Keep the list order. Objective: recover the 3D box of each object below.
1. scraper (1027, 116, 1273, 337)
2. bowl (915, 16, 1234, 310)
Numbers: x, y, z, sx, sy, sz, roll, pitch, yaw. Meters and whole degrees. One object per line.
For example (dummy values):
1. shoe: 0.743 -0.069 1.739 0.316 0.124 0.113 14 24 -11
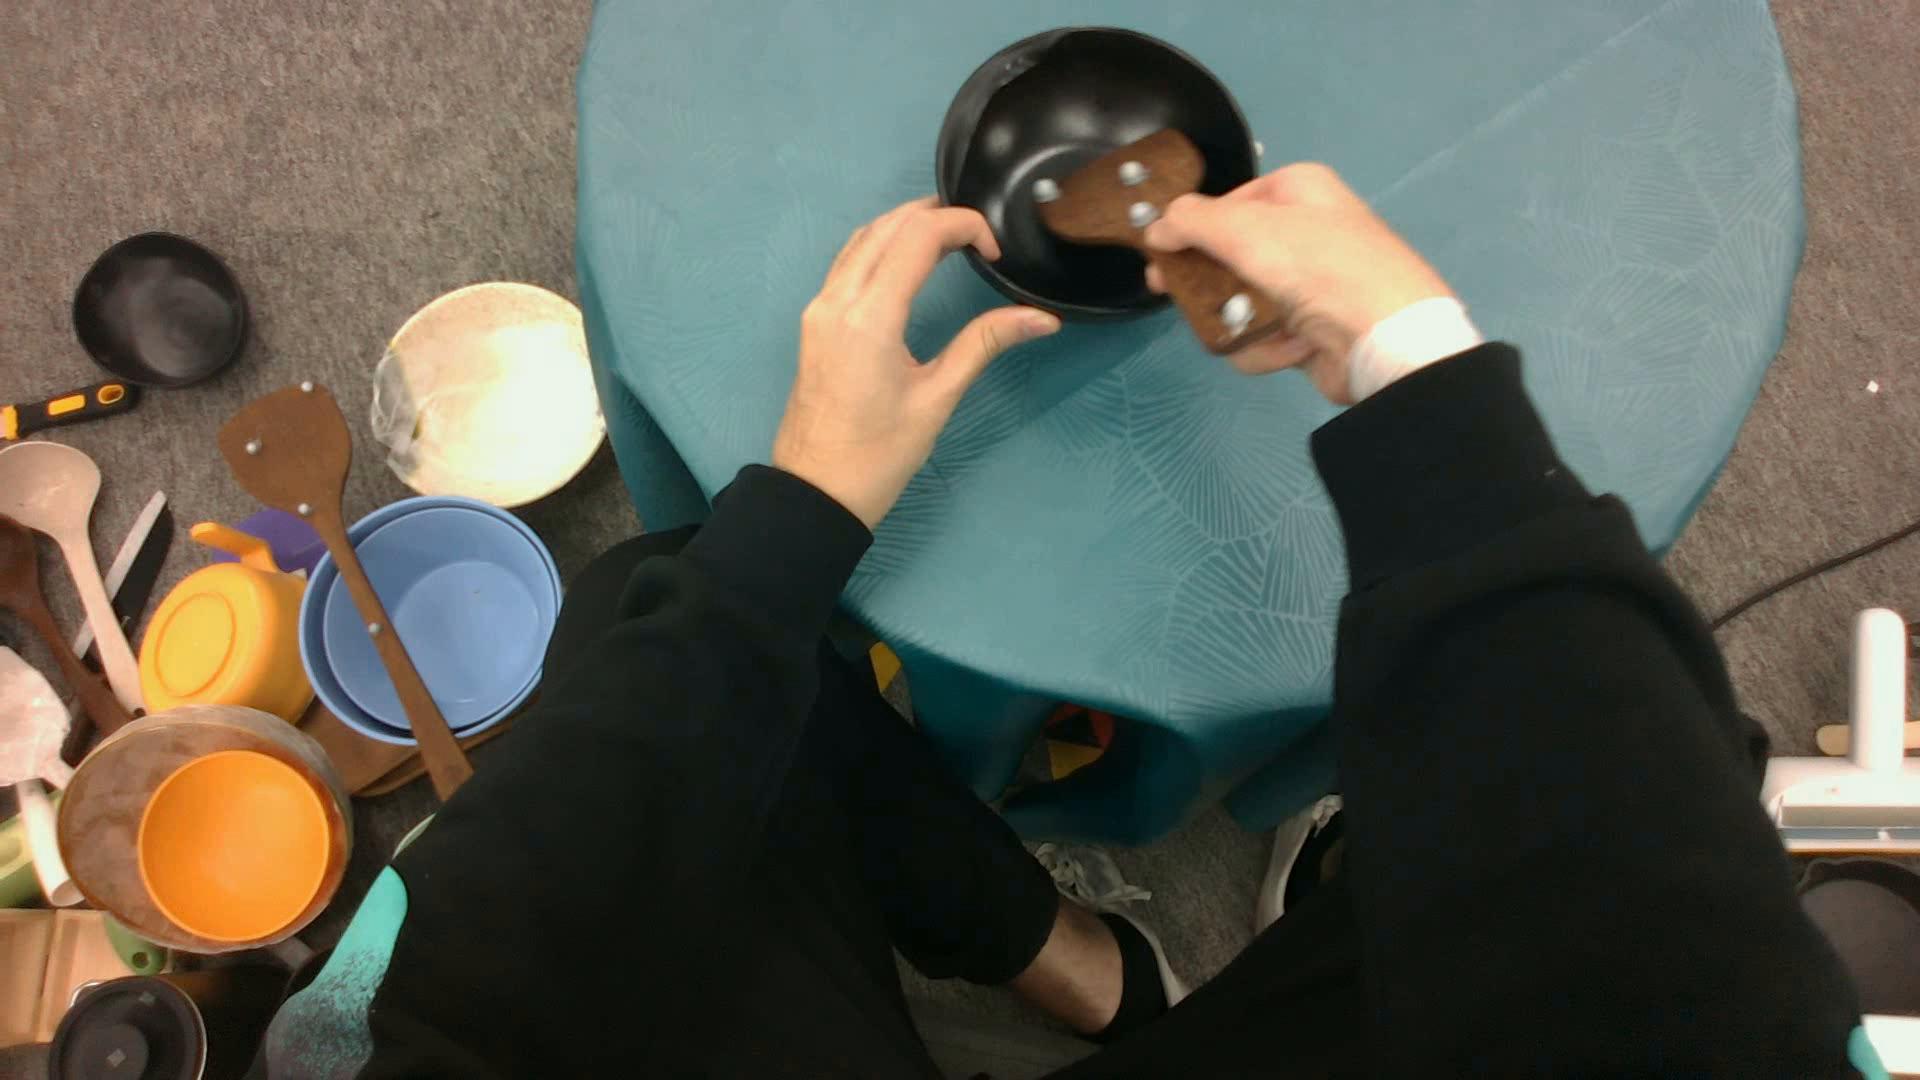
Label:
1. scraper: 0.078 -0.125 0.545 0.076 0.212 0.011 -26 121 6
2. bowl: 0.048 -0.159 0.612 0.140 0.049 0.140 1 74 -5
